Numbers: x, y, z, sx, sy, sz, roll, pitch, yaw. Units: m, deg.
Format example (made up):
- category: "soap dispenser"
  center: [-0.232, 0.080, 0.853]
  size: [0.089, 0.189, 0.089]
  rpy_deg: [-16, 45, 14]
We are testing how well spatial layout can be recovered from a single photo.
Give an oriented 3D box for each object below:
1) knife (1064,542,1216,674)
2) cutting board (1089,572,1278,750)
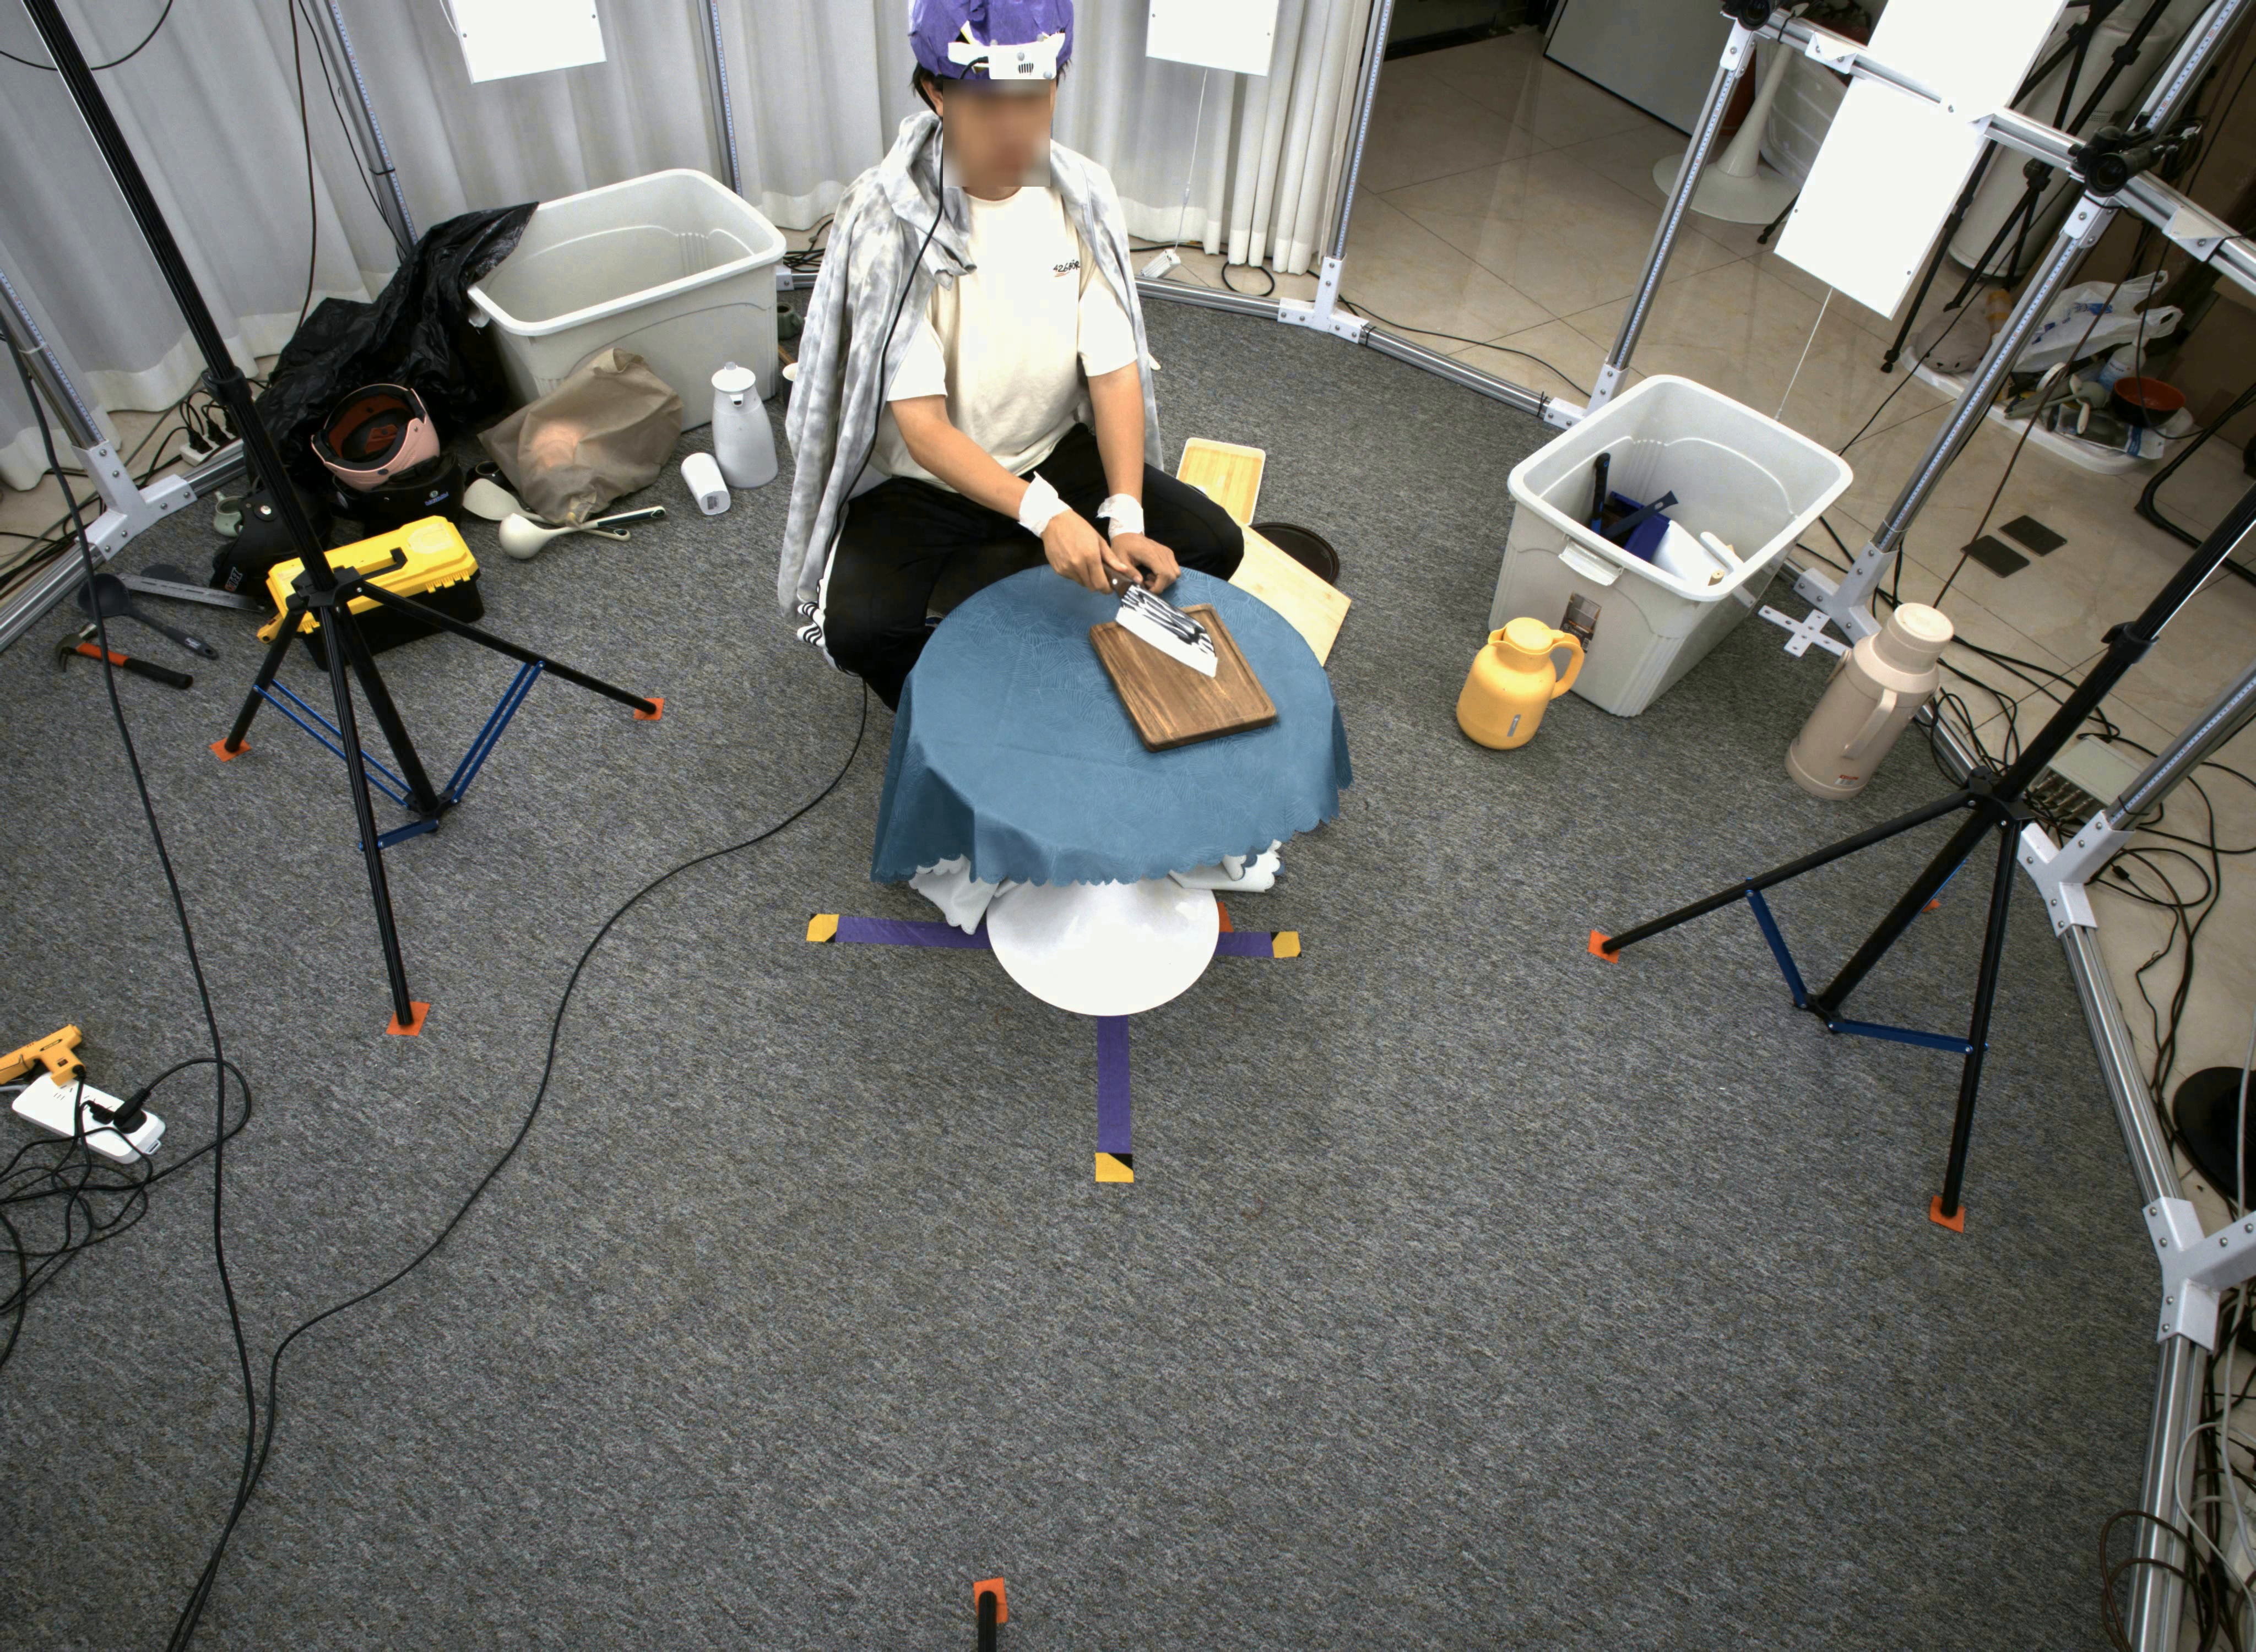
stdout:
- category: "knife"
  center: [0.015, -0.317, 1.863]
  size: [0.303, 0.067, 0.024]
  rpy_deg: [36, 27, 20]
- category: "cutting board"
  center: [0.060, -0.257, 1.876]
  size: [0.201, 0.022, 0.360]
  rpy_deg: [-14, 50, -15]
